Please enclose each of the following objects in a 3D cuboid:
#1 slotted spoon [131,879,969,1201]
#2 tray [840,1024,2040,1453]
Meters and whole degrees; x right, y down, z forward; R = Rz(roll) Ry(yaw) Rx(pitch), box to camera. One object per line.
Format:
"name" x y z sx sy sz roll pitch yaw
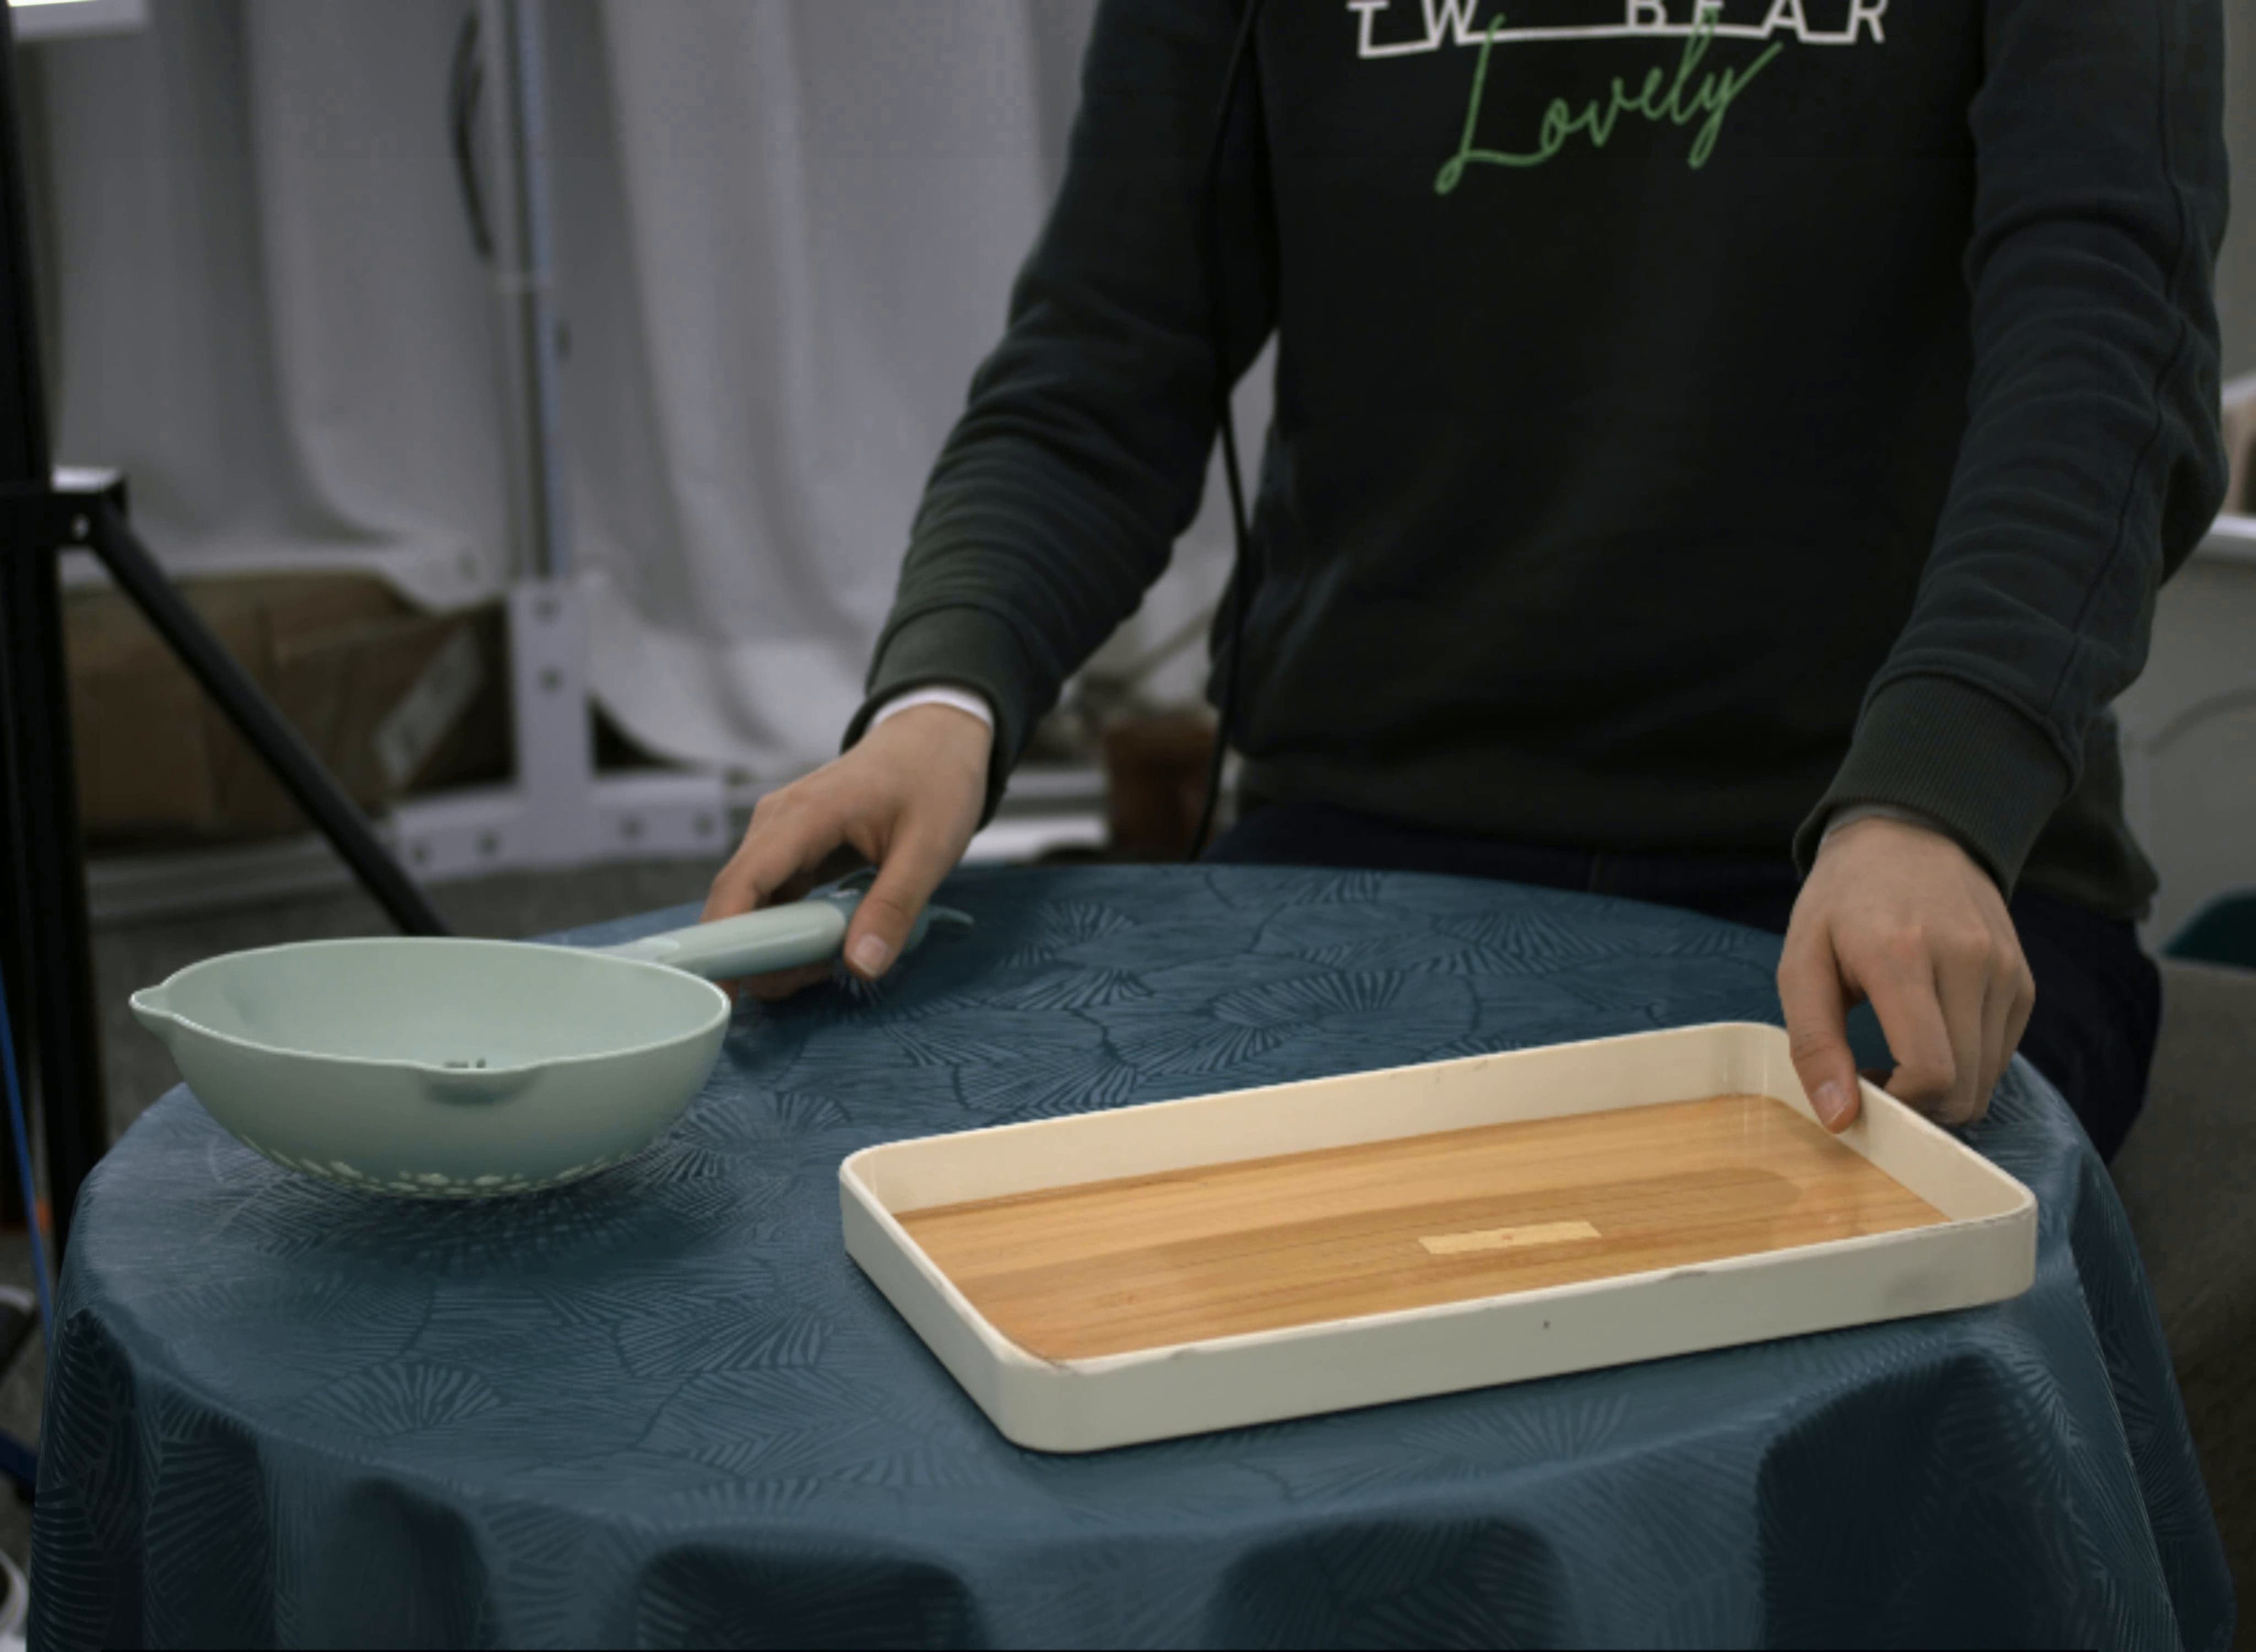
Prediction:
"slotted spoon" -0.152 0.051 1.665 0.172 0.075 0.352 9 20 31
"tray" 0.084 0.112 1.482 0.295 0.027 0.195 -7 16 -15
